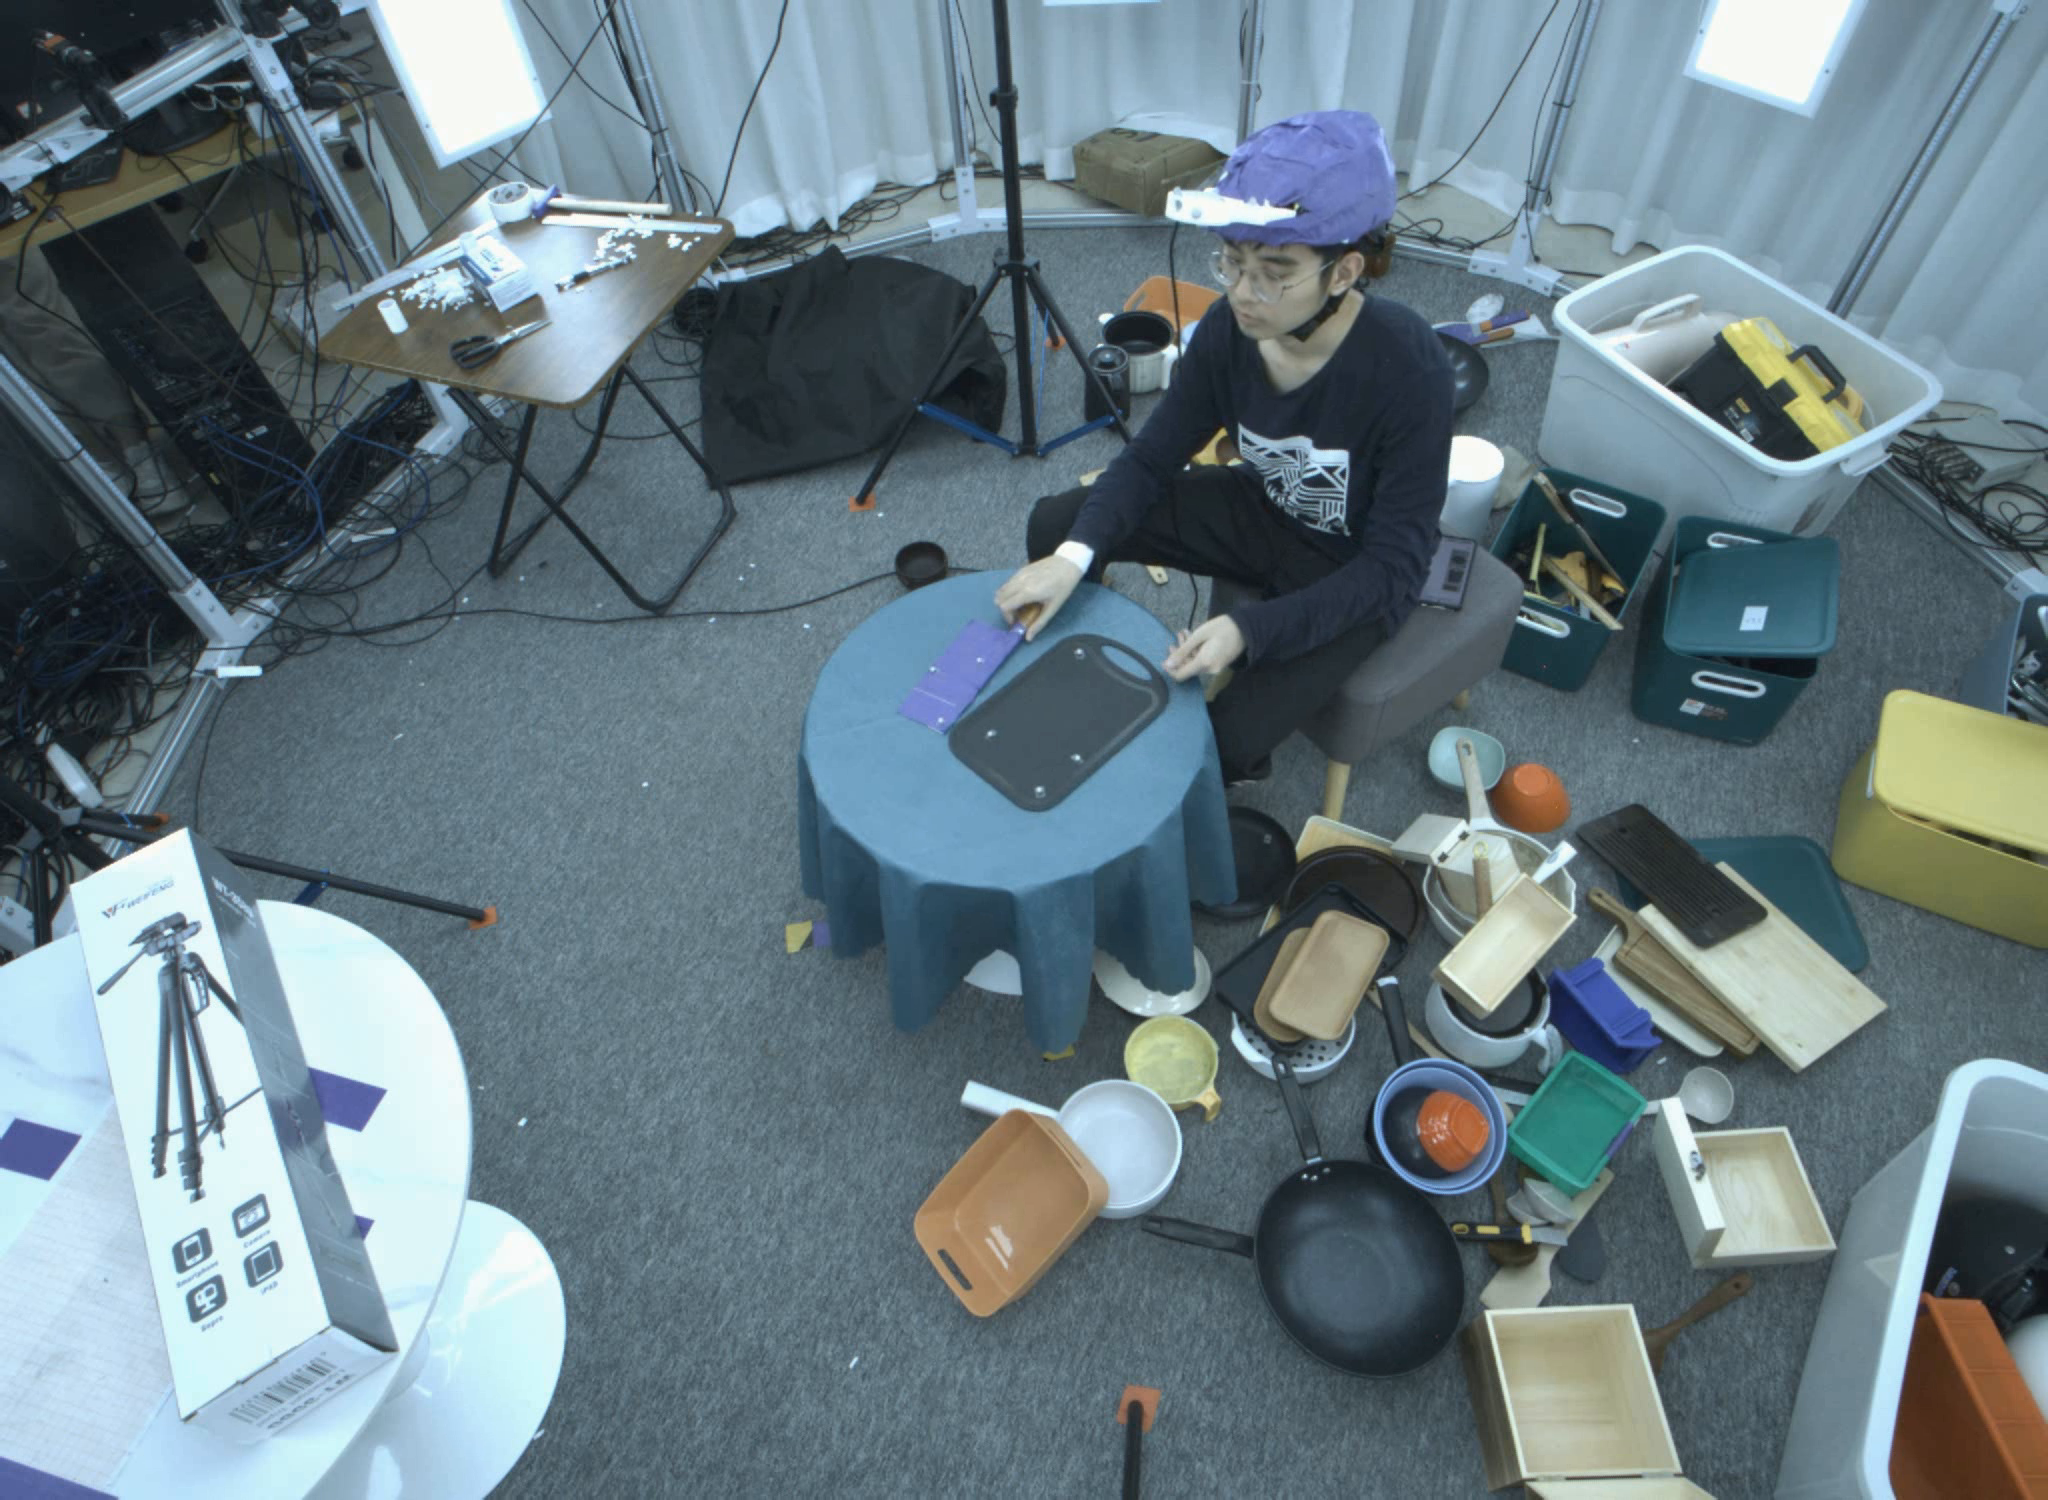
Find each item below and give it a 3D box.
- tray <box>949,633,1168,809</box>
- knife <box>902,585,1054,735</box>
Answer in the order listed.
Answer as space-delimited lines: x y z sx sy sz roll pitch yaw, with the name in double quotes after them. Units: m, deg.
0.057 -0.056 1.829 0.207 0.010 0.328 39 64 25 "tray"
-0.072 -0.154 1.890 0.102 0.032 0.316 27 60 18 "knife"
